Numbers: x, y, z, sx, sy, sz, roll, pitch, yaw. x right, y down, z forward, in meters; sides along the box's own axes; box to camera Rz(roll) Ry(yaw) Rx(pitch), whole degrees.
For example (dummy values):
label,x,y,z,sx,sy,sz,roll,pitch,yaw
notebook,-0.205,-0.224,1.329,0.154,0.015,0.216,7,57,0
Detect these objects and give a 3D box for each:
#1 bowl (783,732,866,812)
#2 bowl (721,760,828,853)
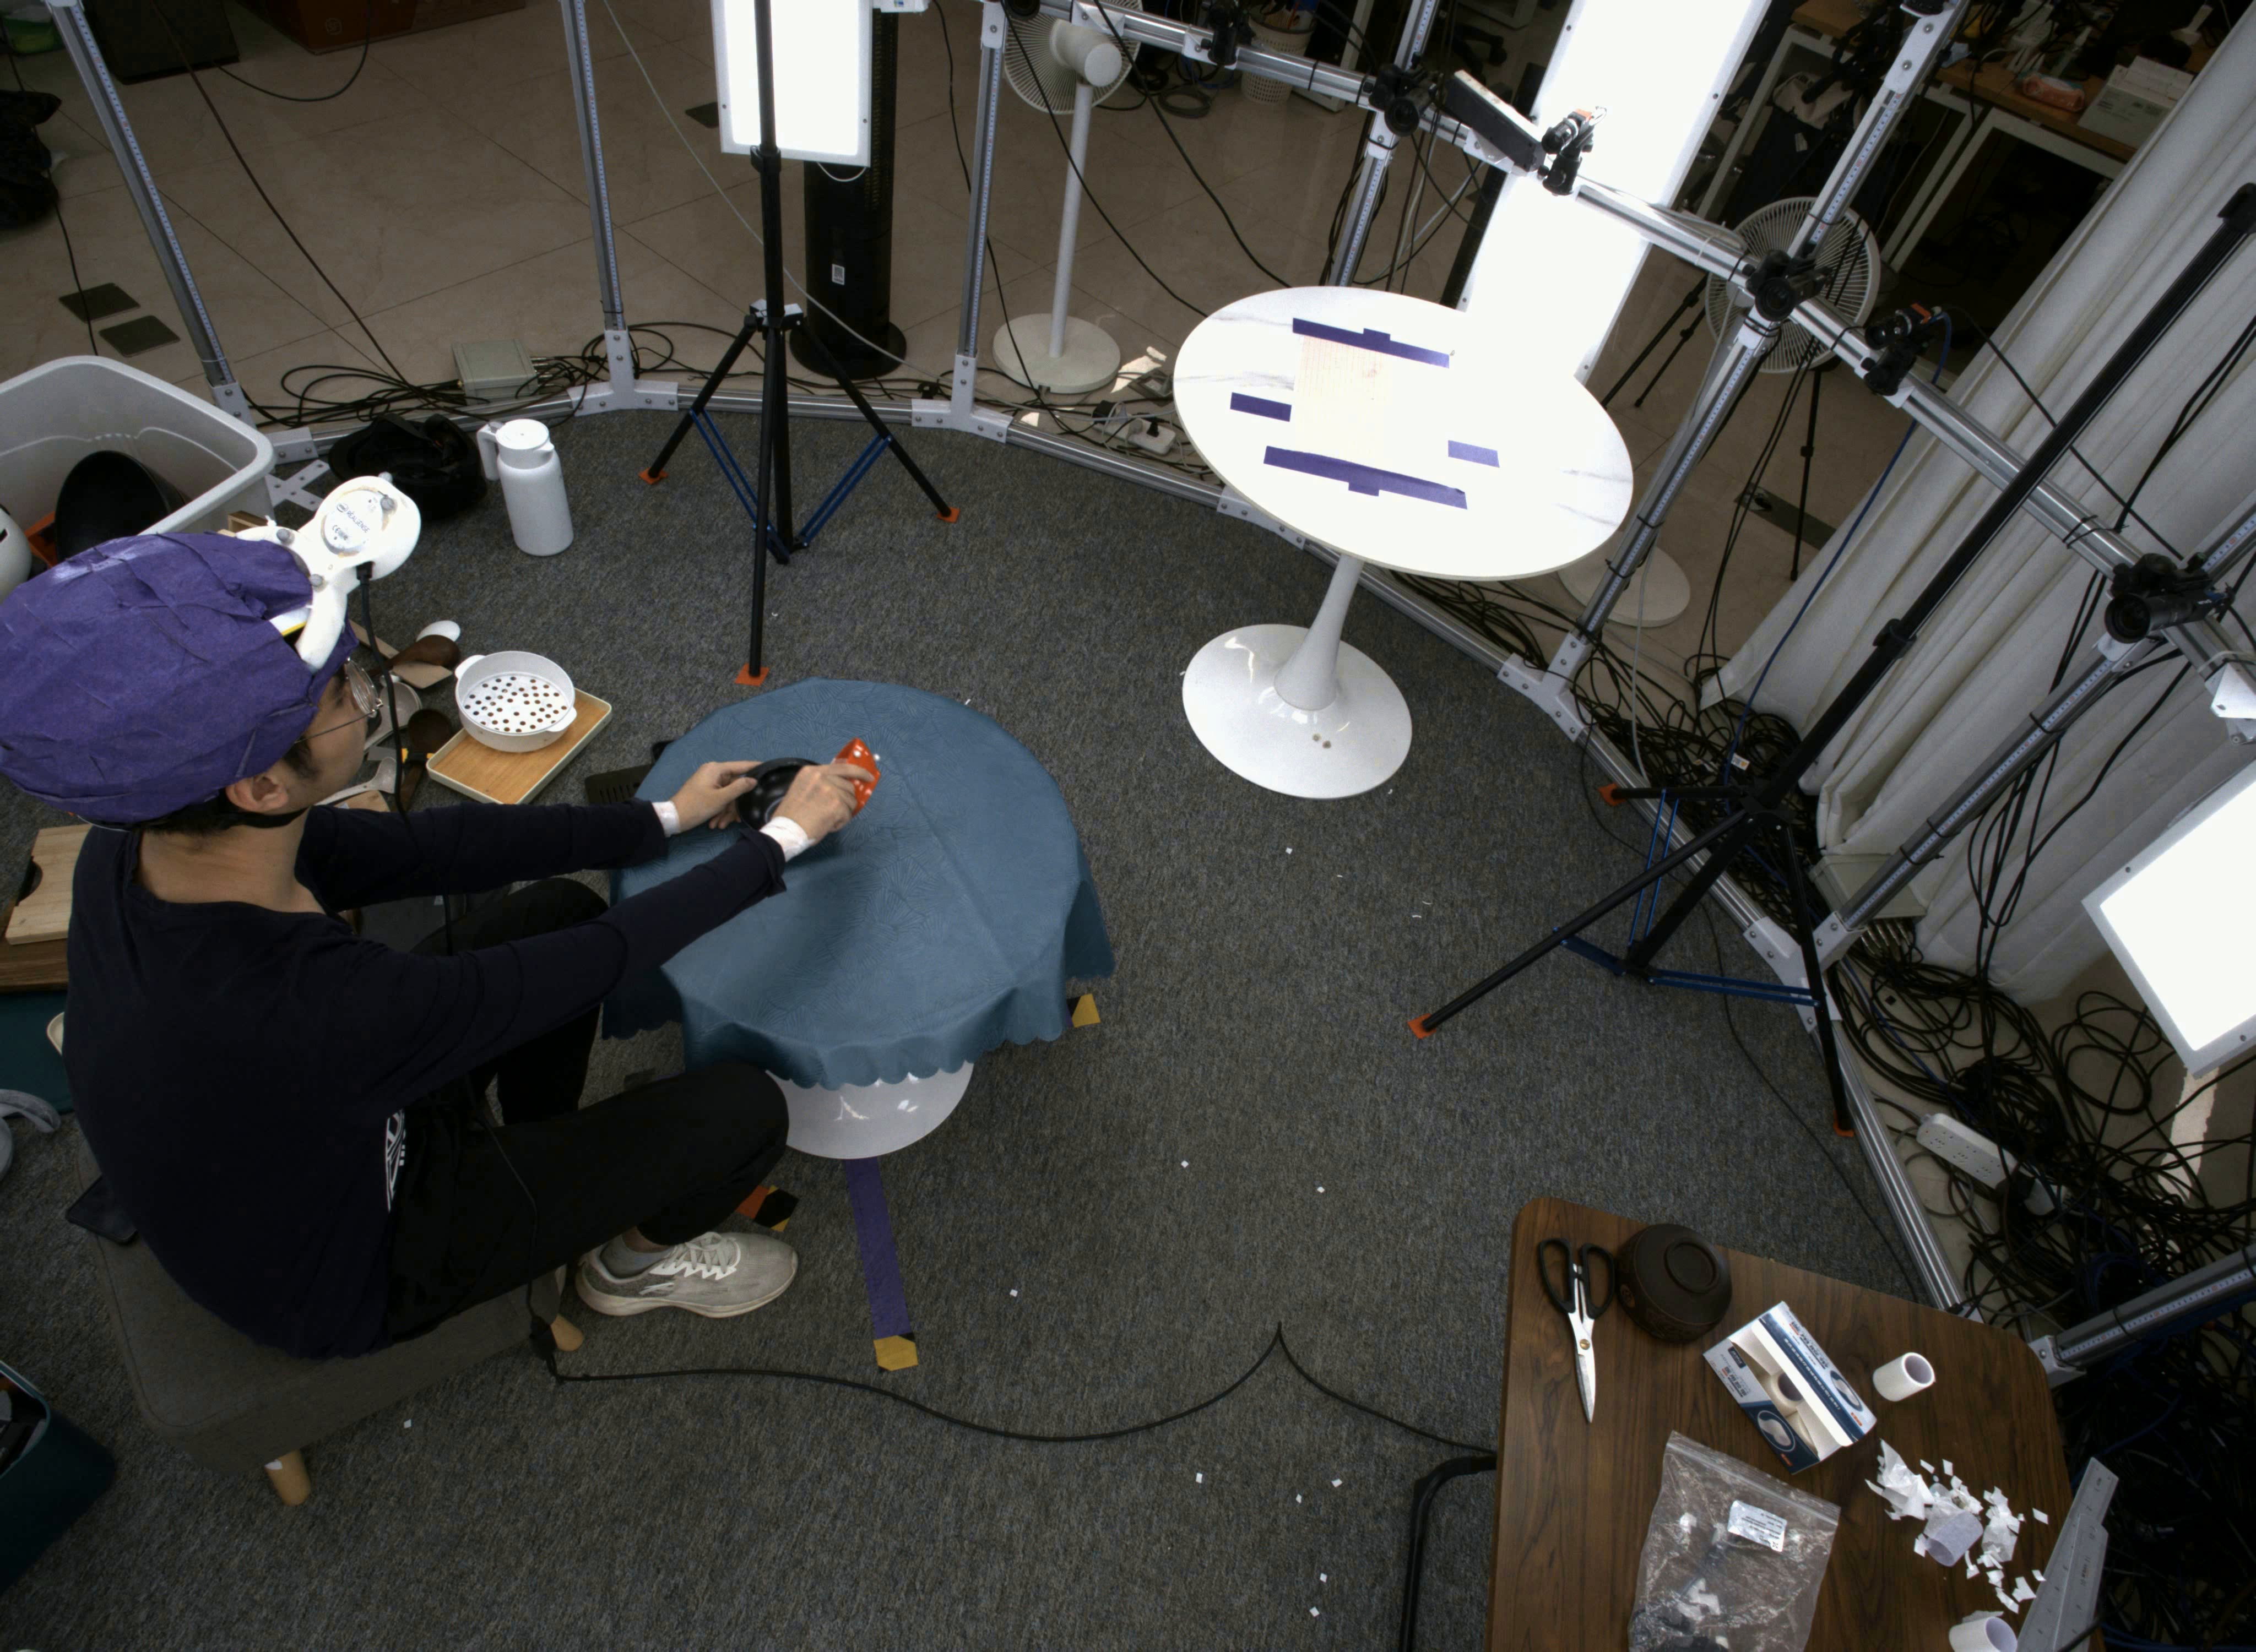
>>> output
label,x,y,z,sx,sy,sz,roll,pitch,yaw
bowl,-0.377,-0.061,1.638,0.053,0.116,0.118,47,47,-23
bowl,-0.464,-0.019,1.710,0.139,0.051,0.138,5,56,-6
